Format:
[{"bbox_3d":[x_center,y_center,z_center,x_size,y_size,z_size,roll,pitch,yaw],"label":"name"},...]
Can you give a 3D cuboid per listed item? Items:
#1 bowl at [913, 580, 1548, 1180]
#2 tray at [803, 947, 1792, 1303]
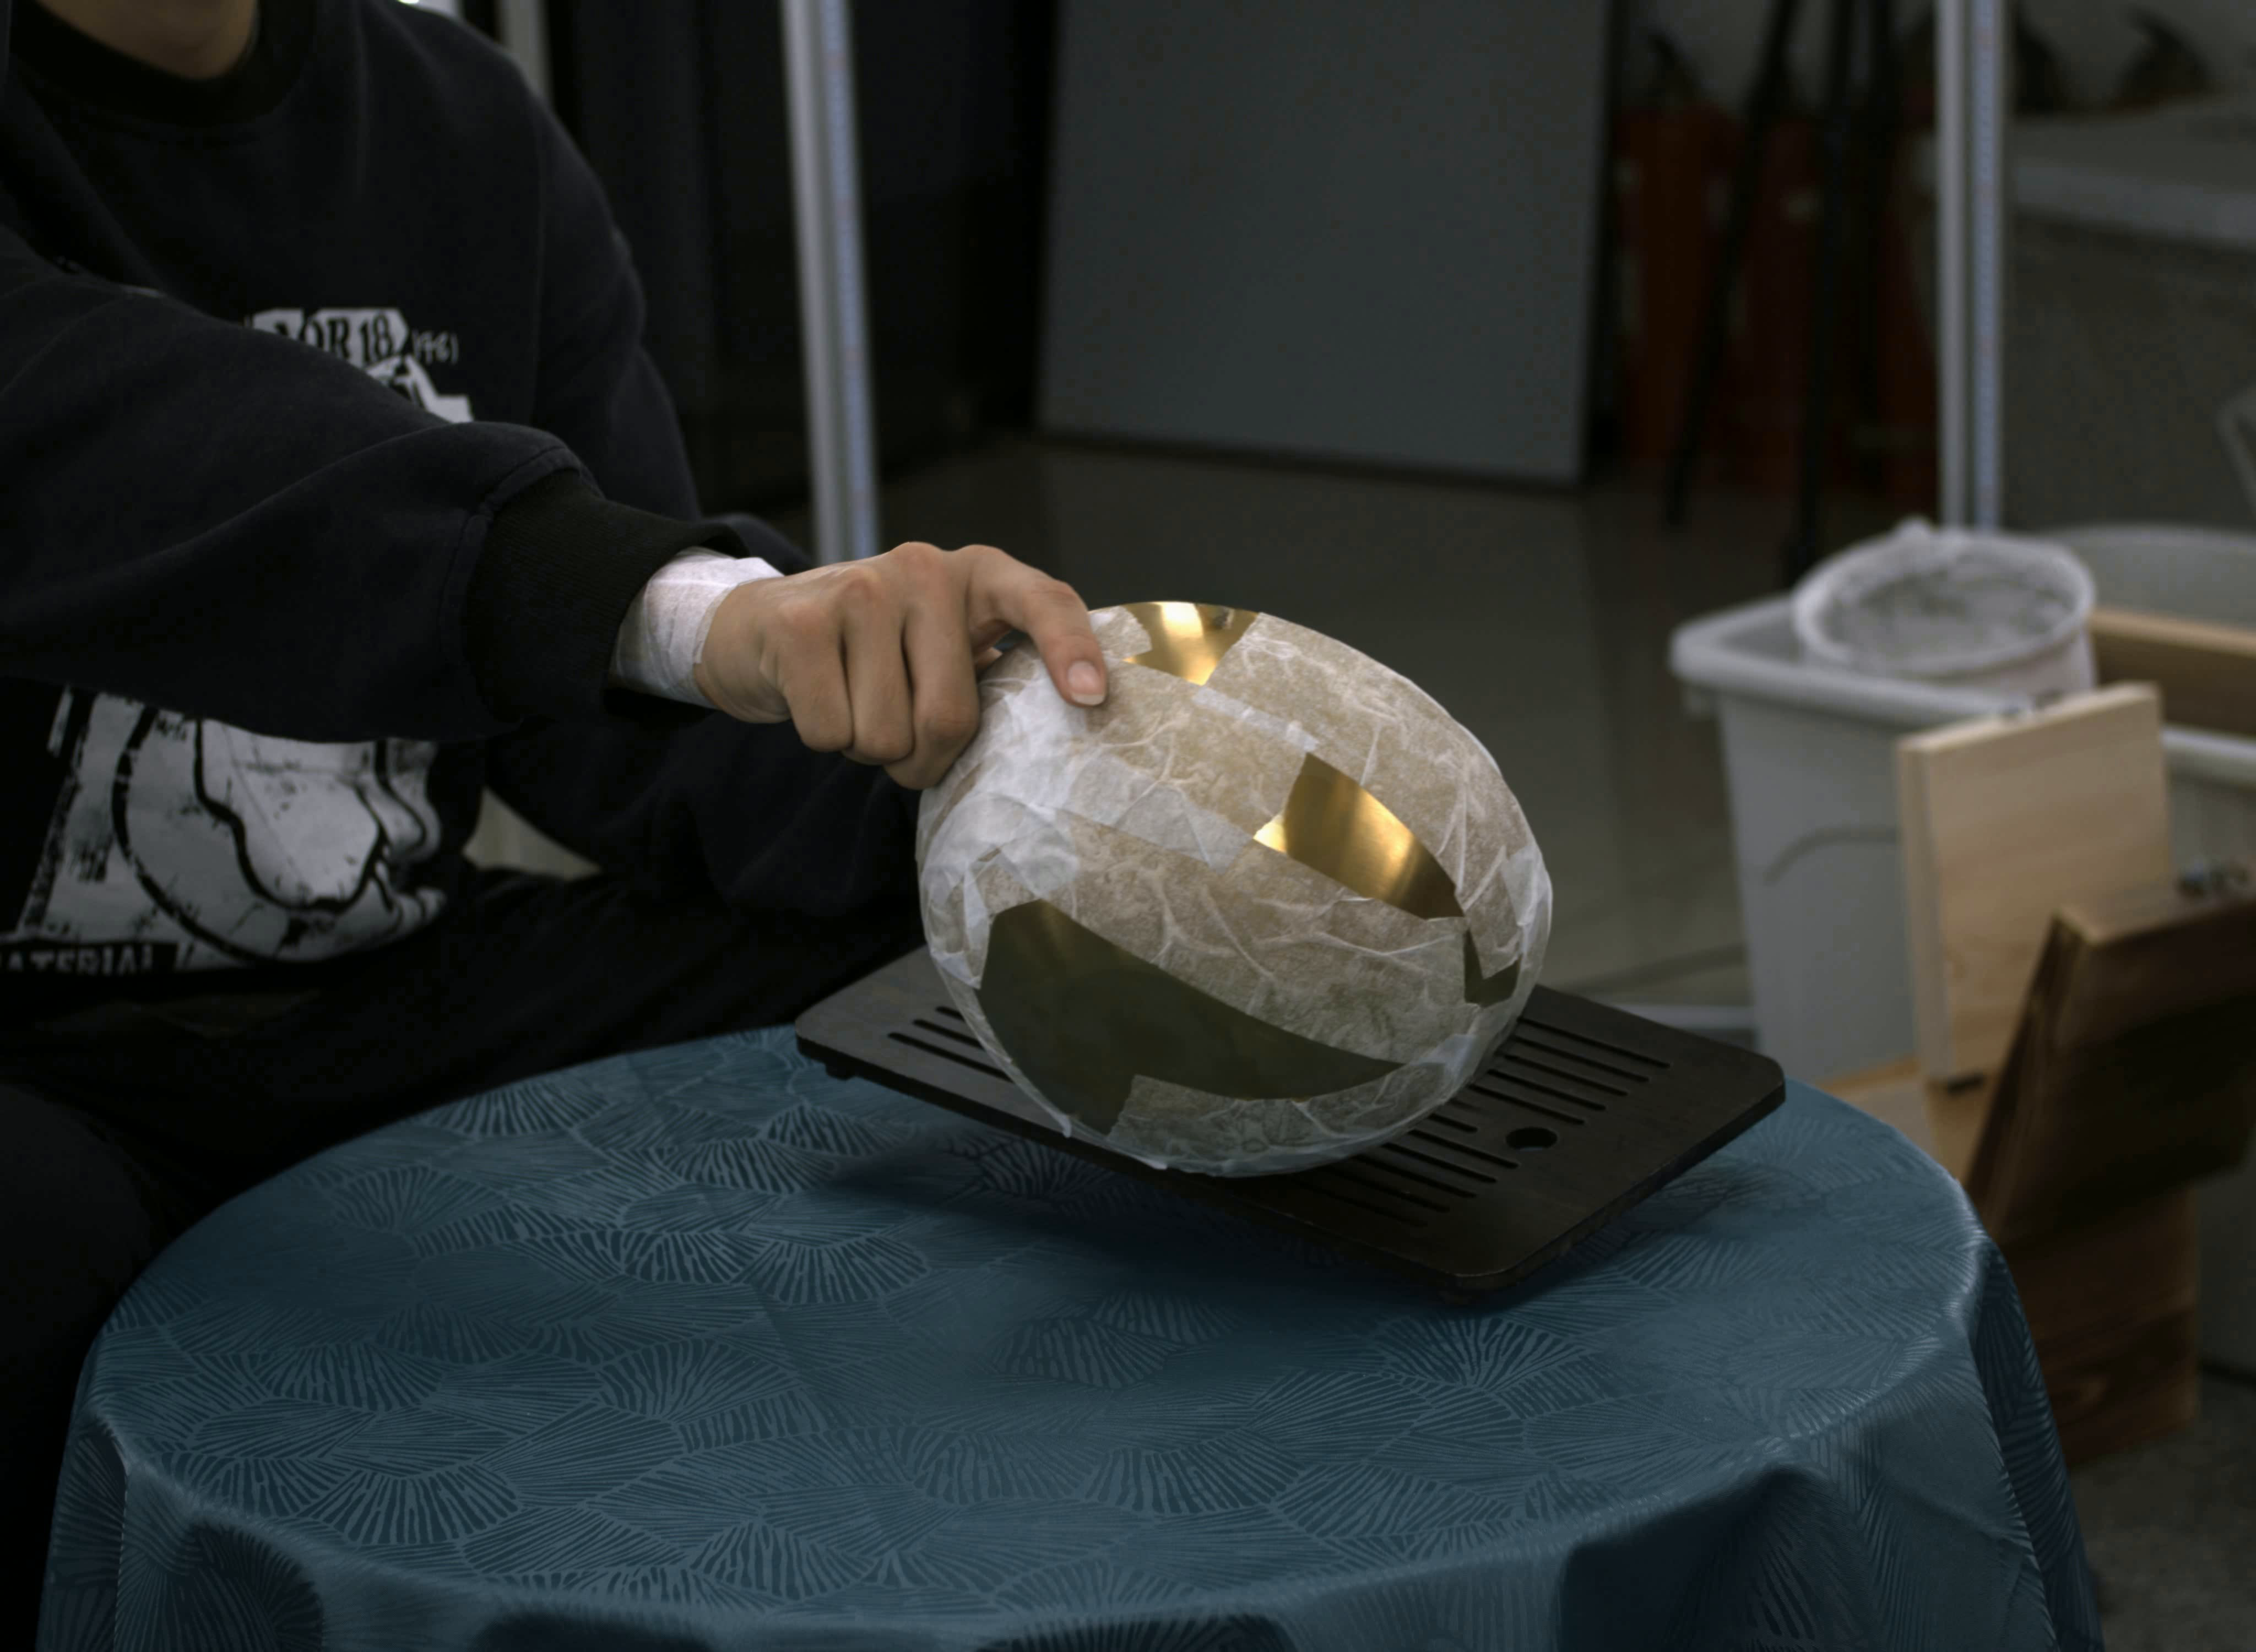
[{"bbox_3d":[0.018,0.038,1.635,0.215,0.215,0.094,3,40,24],"label":"bowl"},{"bbox_3d":[0.052,0.080,1.774,0.308,0.019,0.167,17,33,40],"label":"tray"}]
